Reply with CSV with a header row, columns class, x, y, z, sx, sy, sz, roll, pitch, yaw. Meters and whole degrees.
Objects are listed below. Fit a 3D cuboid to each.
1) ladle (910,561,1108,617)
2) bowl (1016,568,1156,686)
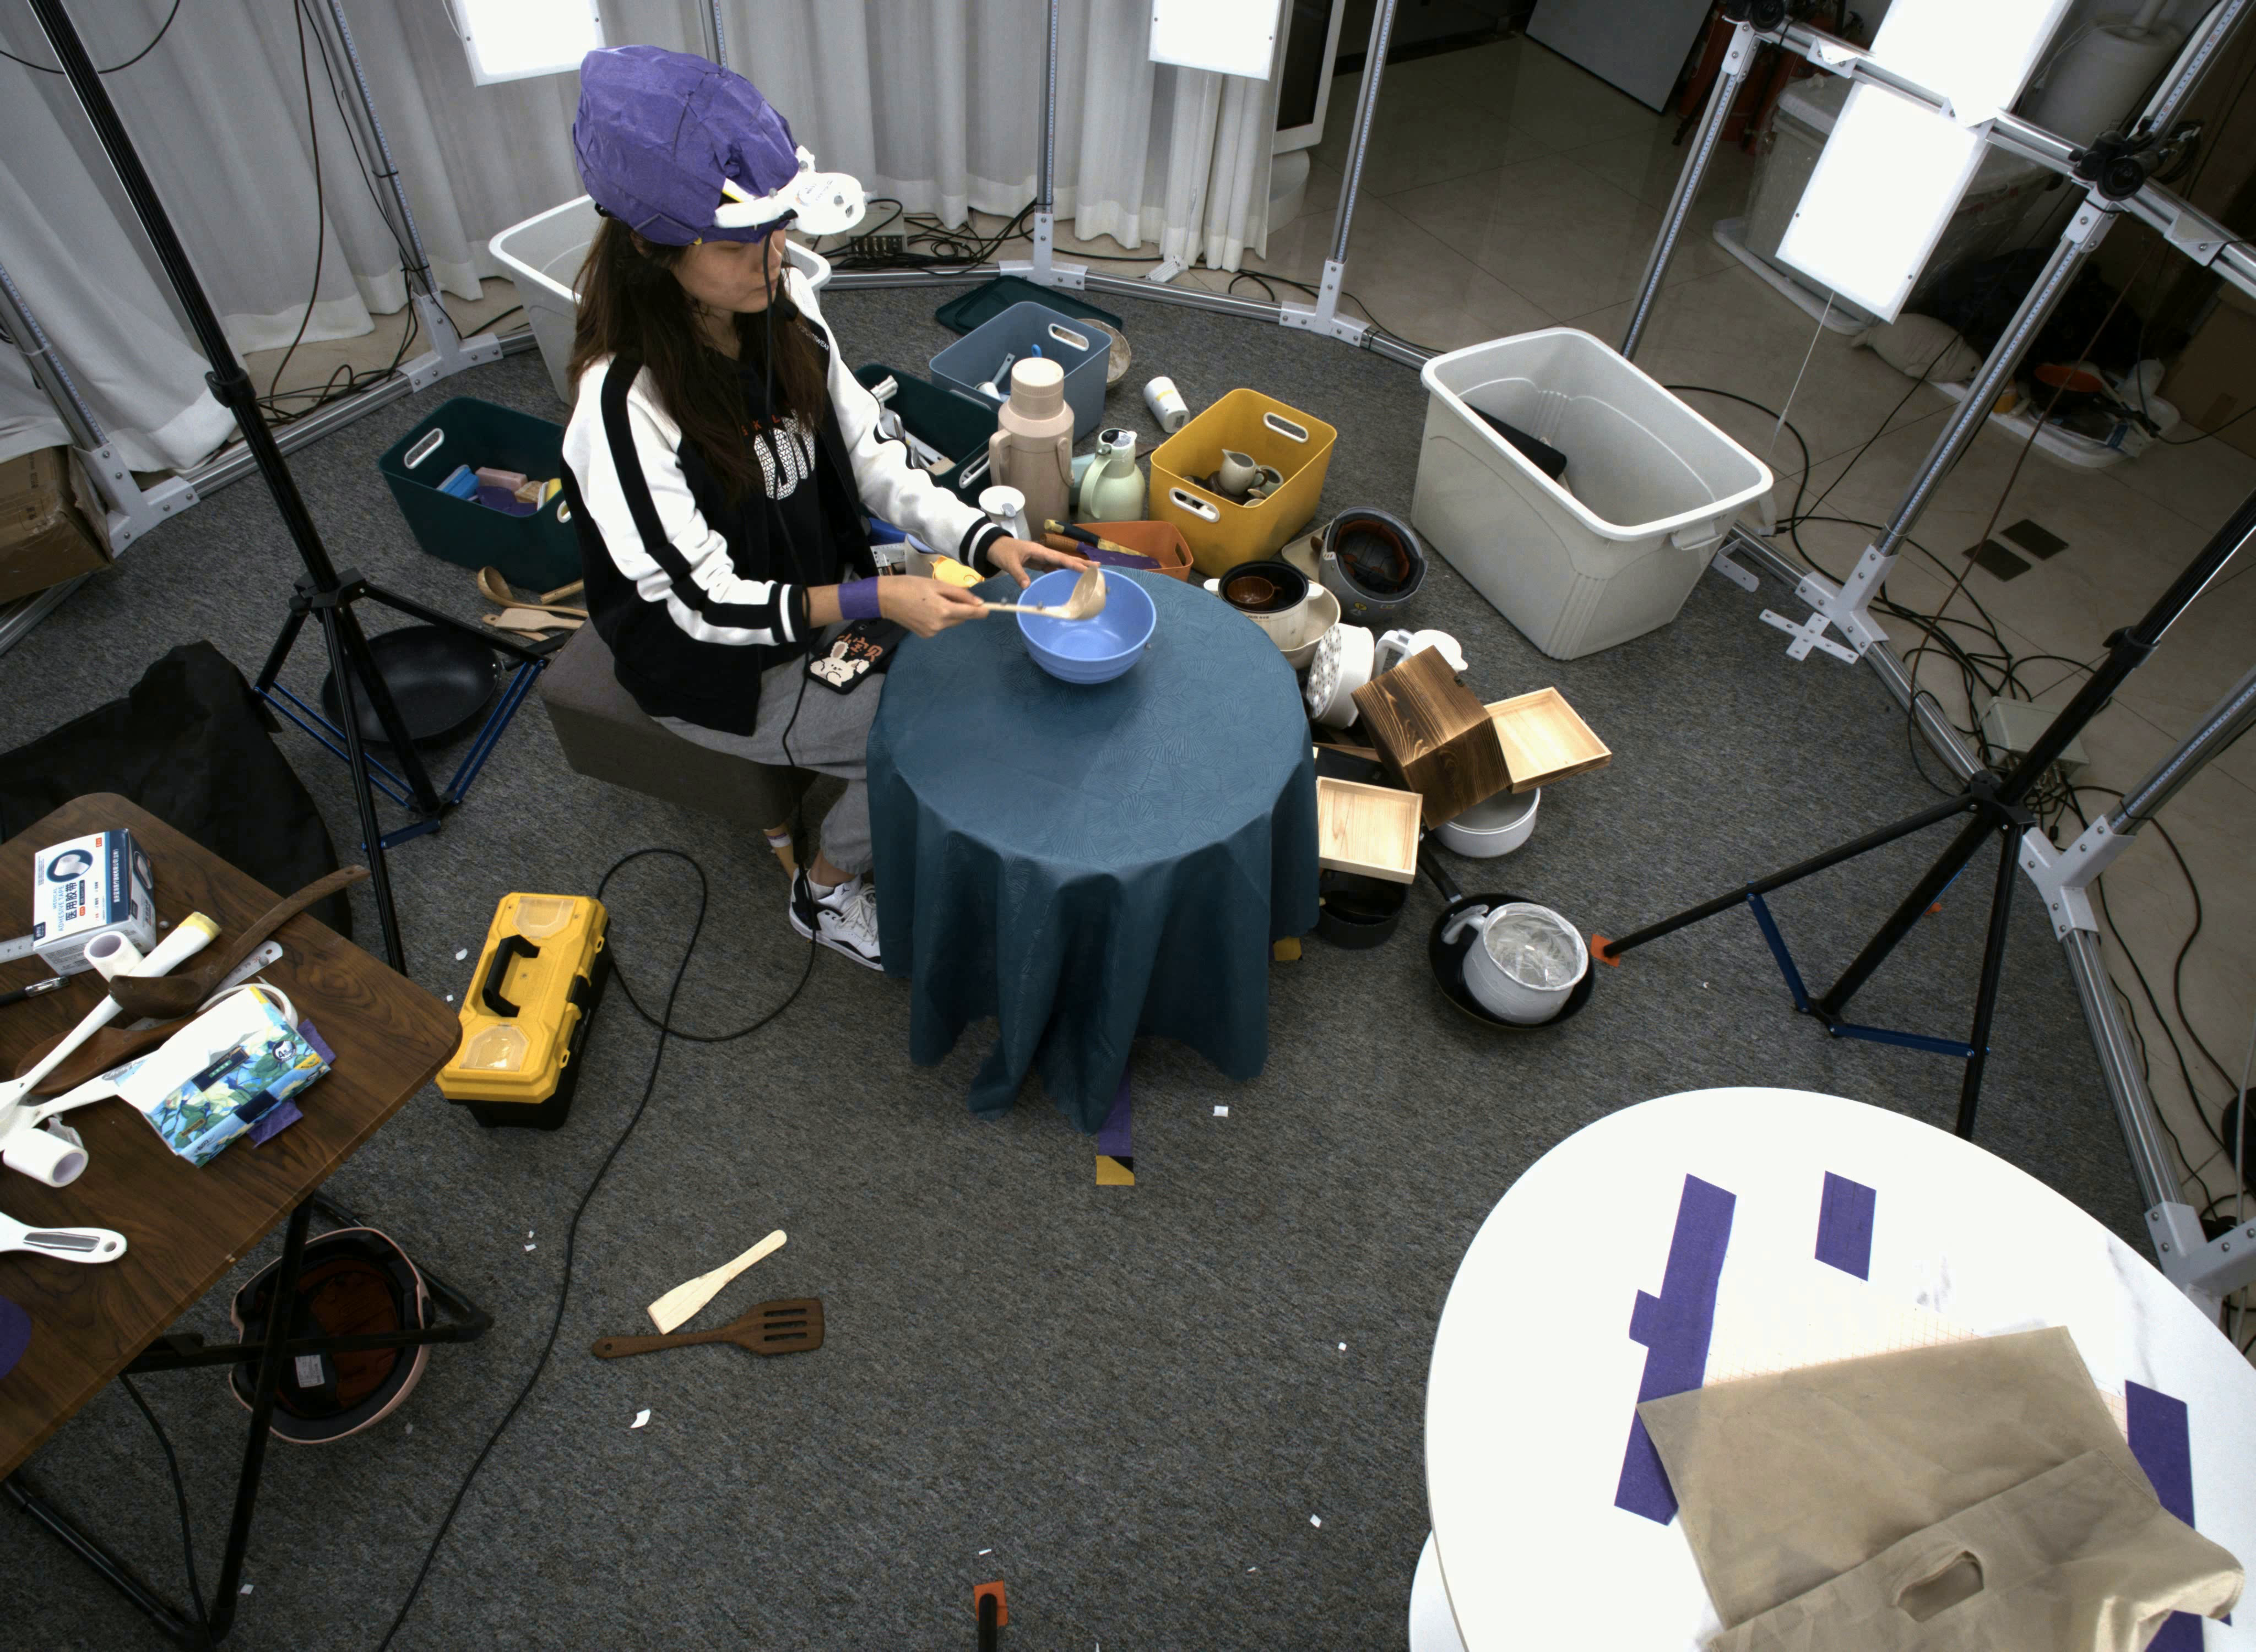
class,x,y,z,sx,sy,sz,roll,pitch,yaw
ladle,-0.153,-0.306,1.662,0.254,0.071,0.074,-2,45,-10
bowl,-0.061,-0.269,1.843,0.196,0.093,0.201,1,51,-2
